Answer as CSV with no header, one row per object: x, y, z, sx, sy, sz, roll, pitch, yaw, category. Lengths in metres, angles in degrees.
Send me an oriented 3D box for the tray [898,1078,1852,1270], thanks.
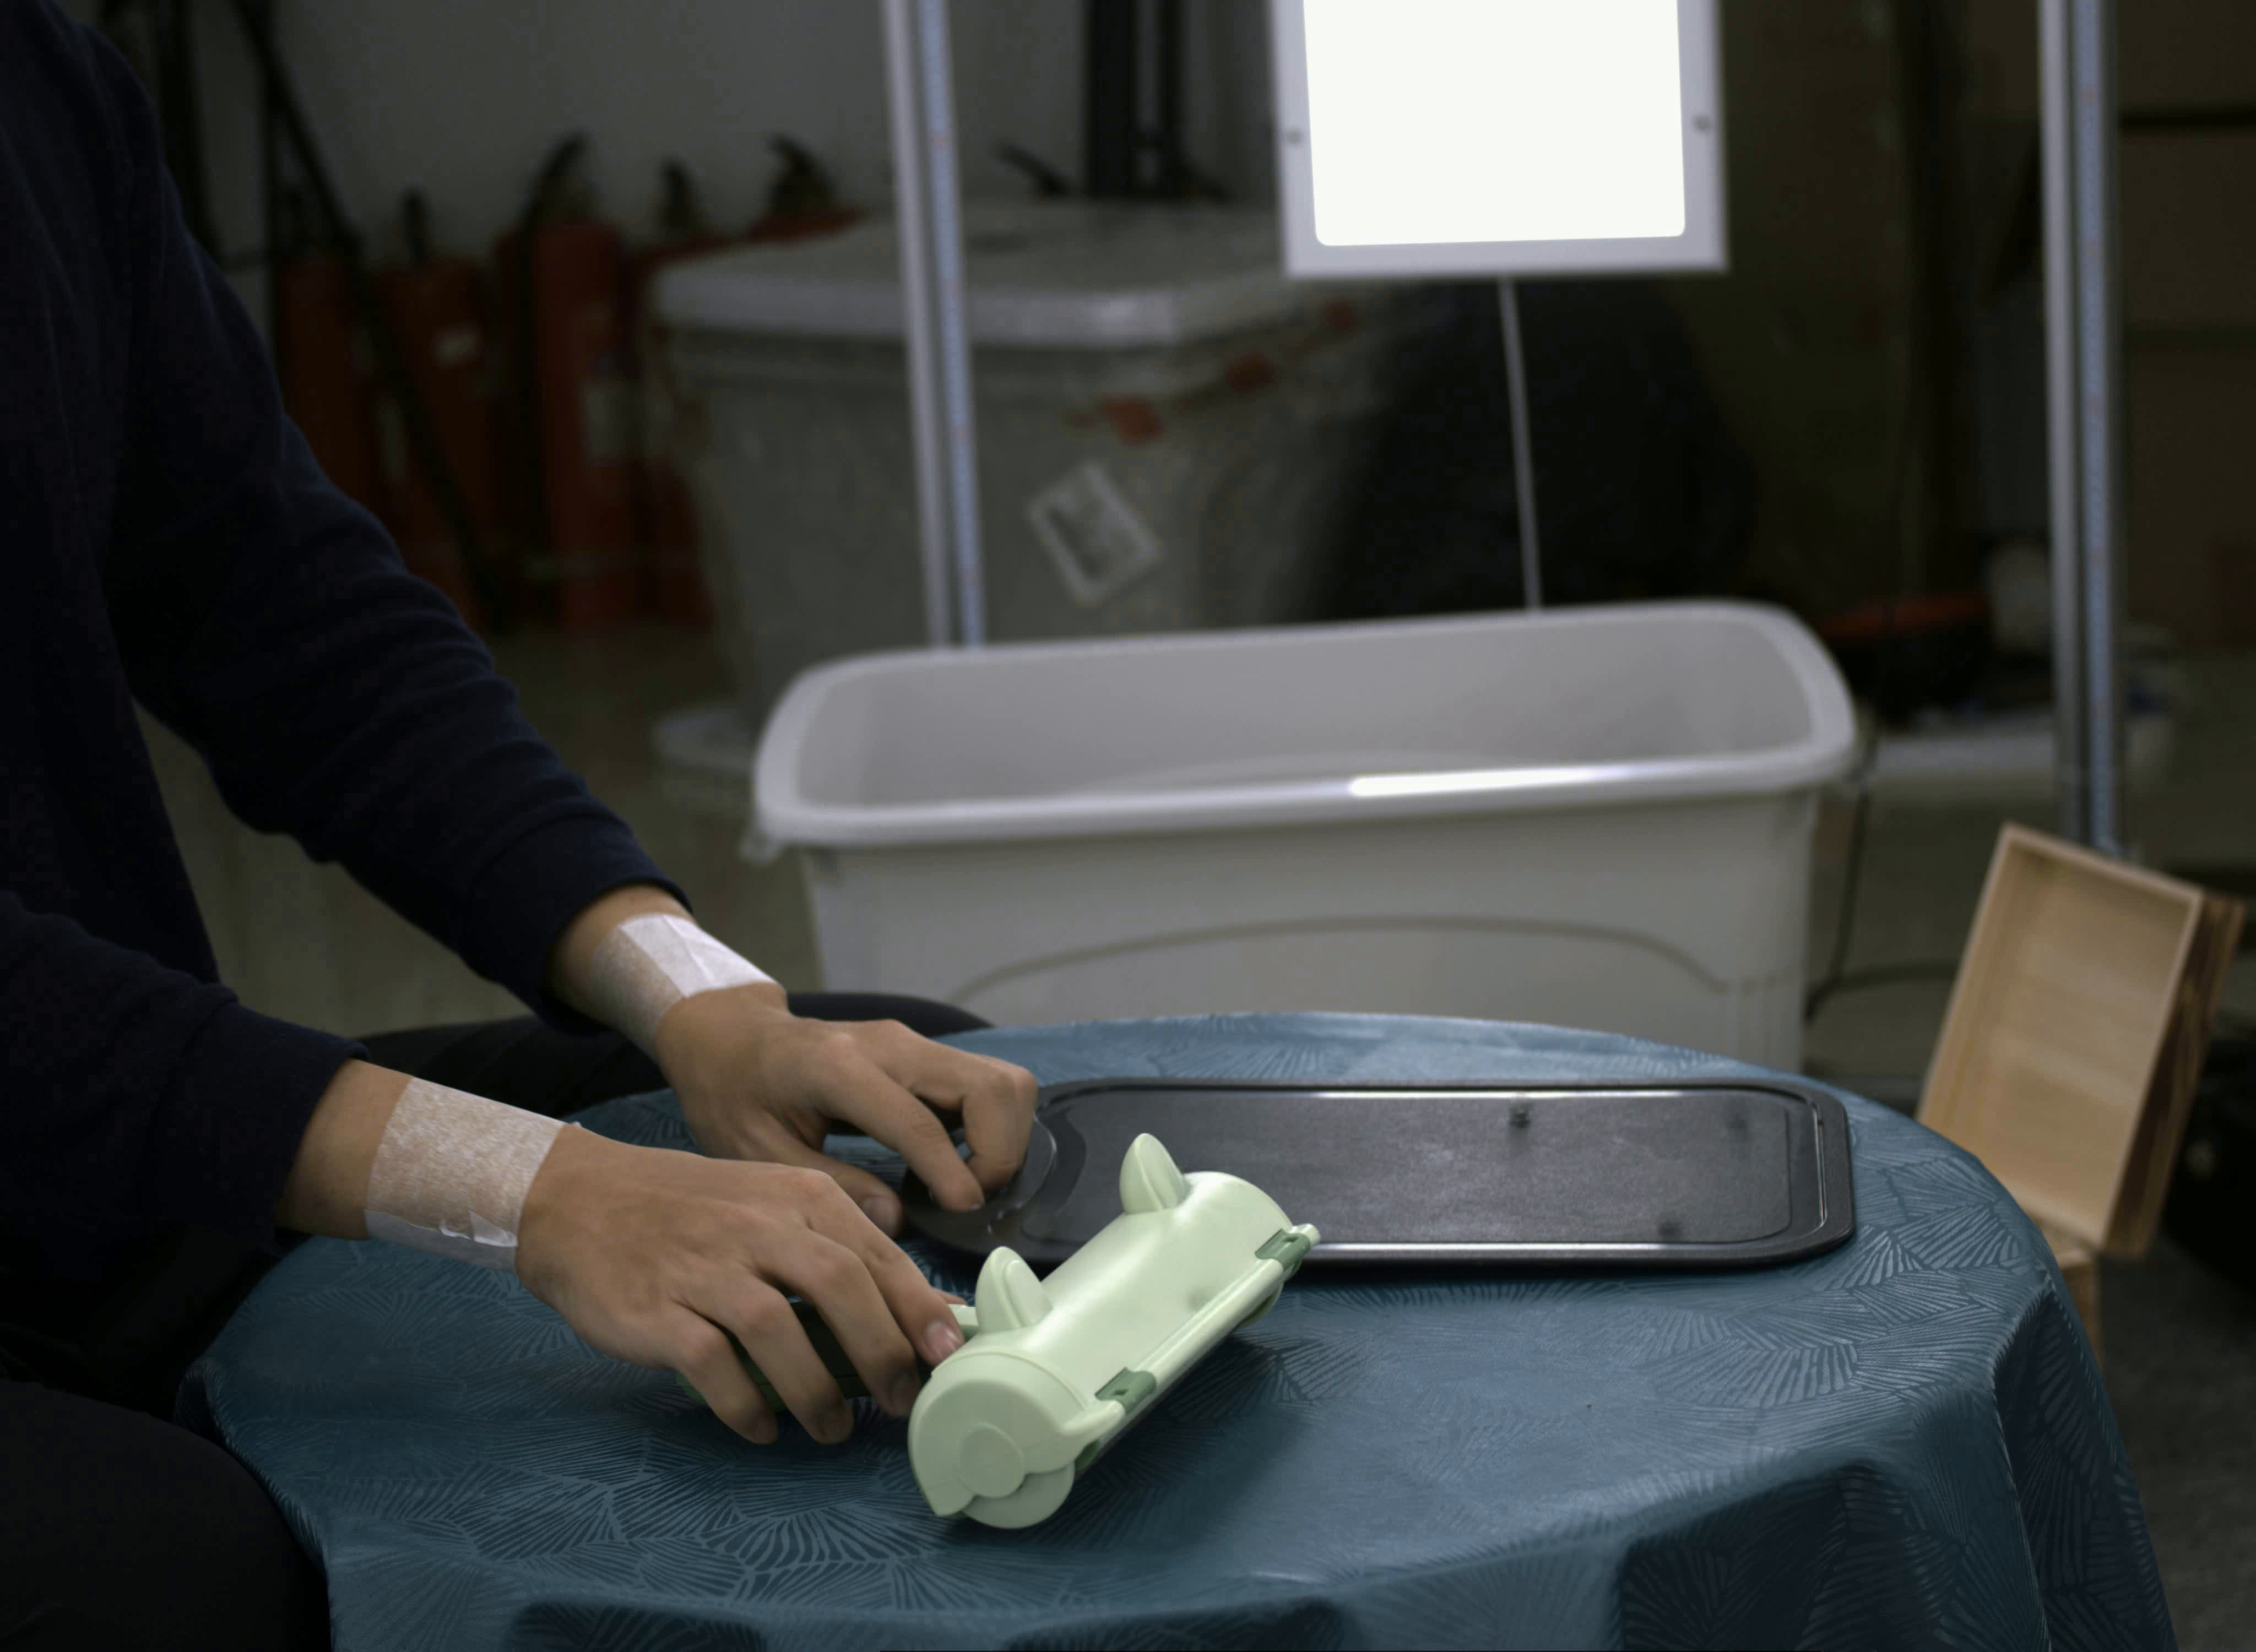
0.084,0.115,1.875,0.327,0.010,0.209,-1,13,9,tray

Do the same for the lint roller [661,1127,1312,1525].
-0.058,0.141,1.679,0.186,0.082,0.195,8,16,21,lint roller
